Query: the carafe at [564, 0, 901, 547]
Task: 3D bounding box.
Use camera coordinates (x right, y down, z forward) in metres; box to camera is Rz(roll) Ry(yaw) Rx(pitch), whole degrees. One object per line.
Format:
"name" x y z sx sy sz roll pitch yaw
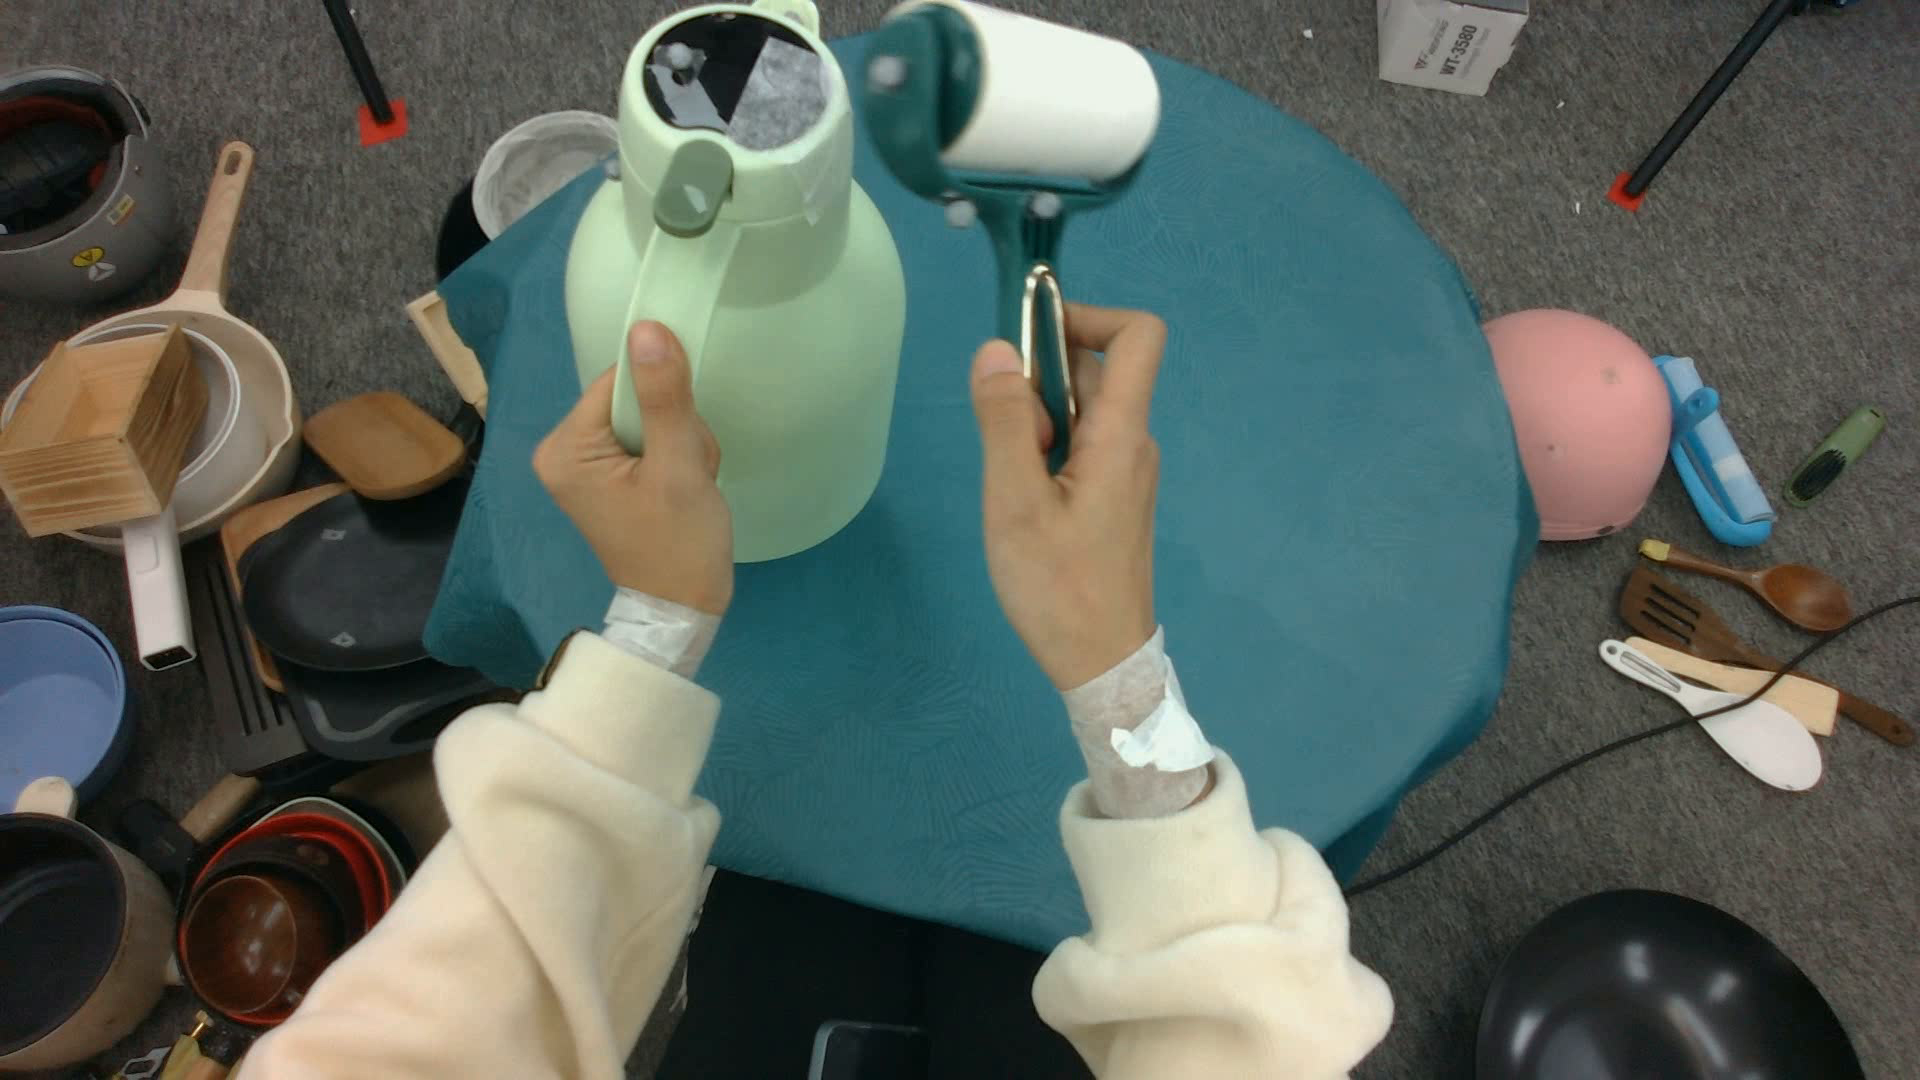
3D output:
"carafe" -0.099 -0.095 0.580 0.144 0.255 0.187 17 66 -3

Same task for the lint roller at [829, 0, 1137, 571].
"lint roller" 0.025 -0.080 0.437 0.135 0.048 0.180 -18 97 -51
